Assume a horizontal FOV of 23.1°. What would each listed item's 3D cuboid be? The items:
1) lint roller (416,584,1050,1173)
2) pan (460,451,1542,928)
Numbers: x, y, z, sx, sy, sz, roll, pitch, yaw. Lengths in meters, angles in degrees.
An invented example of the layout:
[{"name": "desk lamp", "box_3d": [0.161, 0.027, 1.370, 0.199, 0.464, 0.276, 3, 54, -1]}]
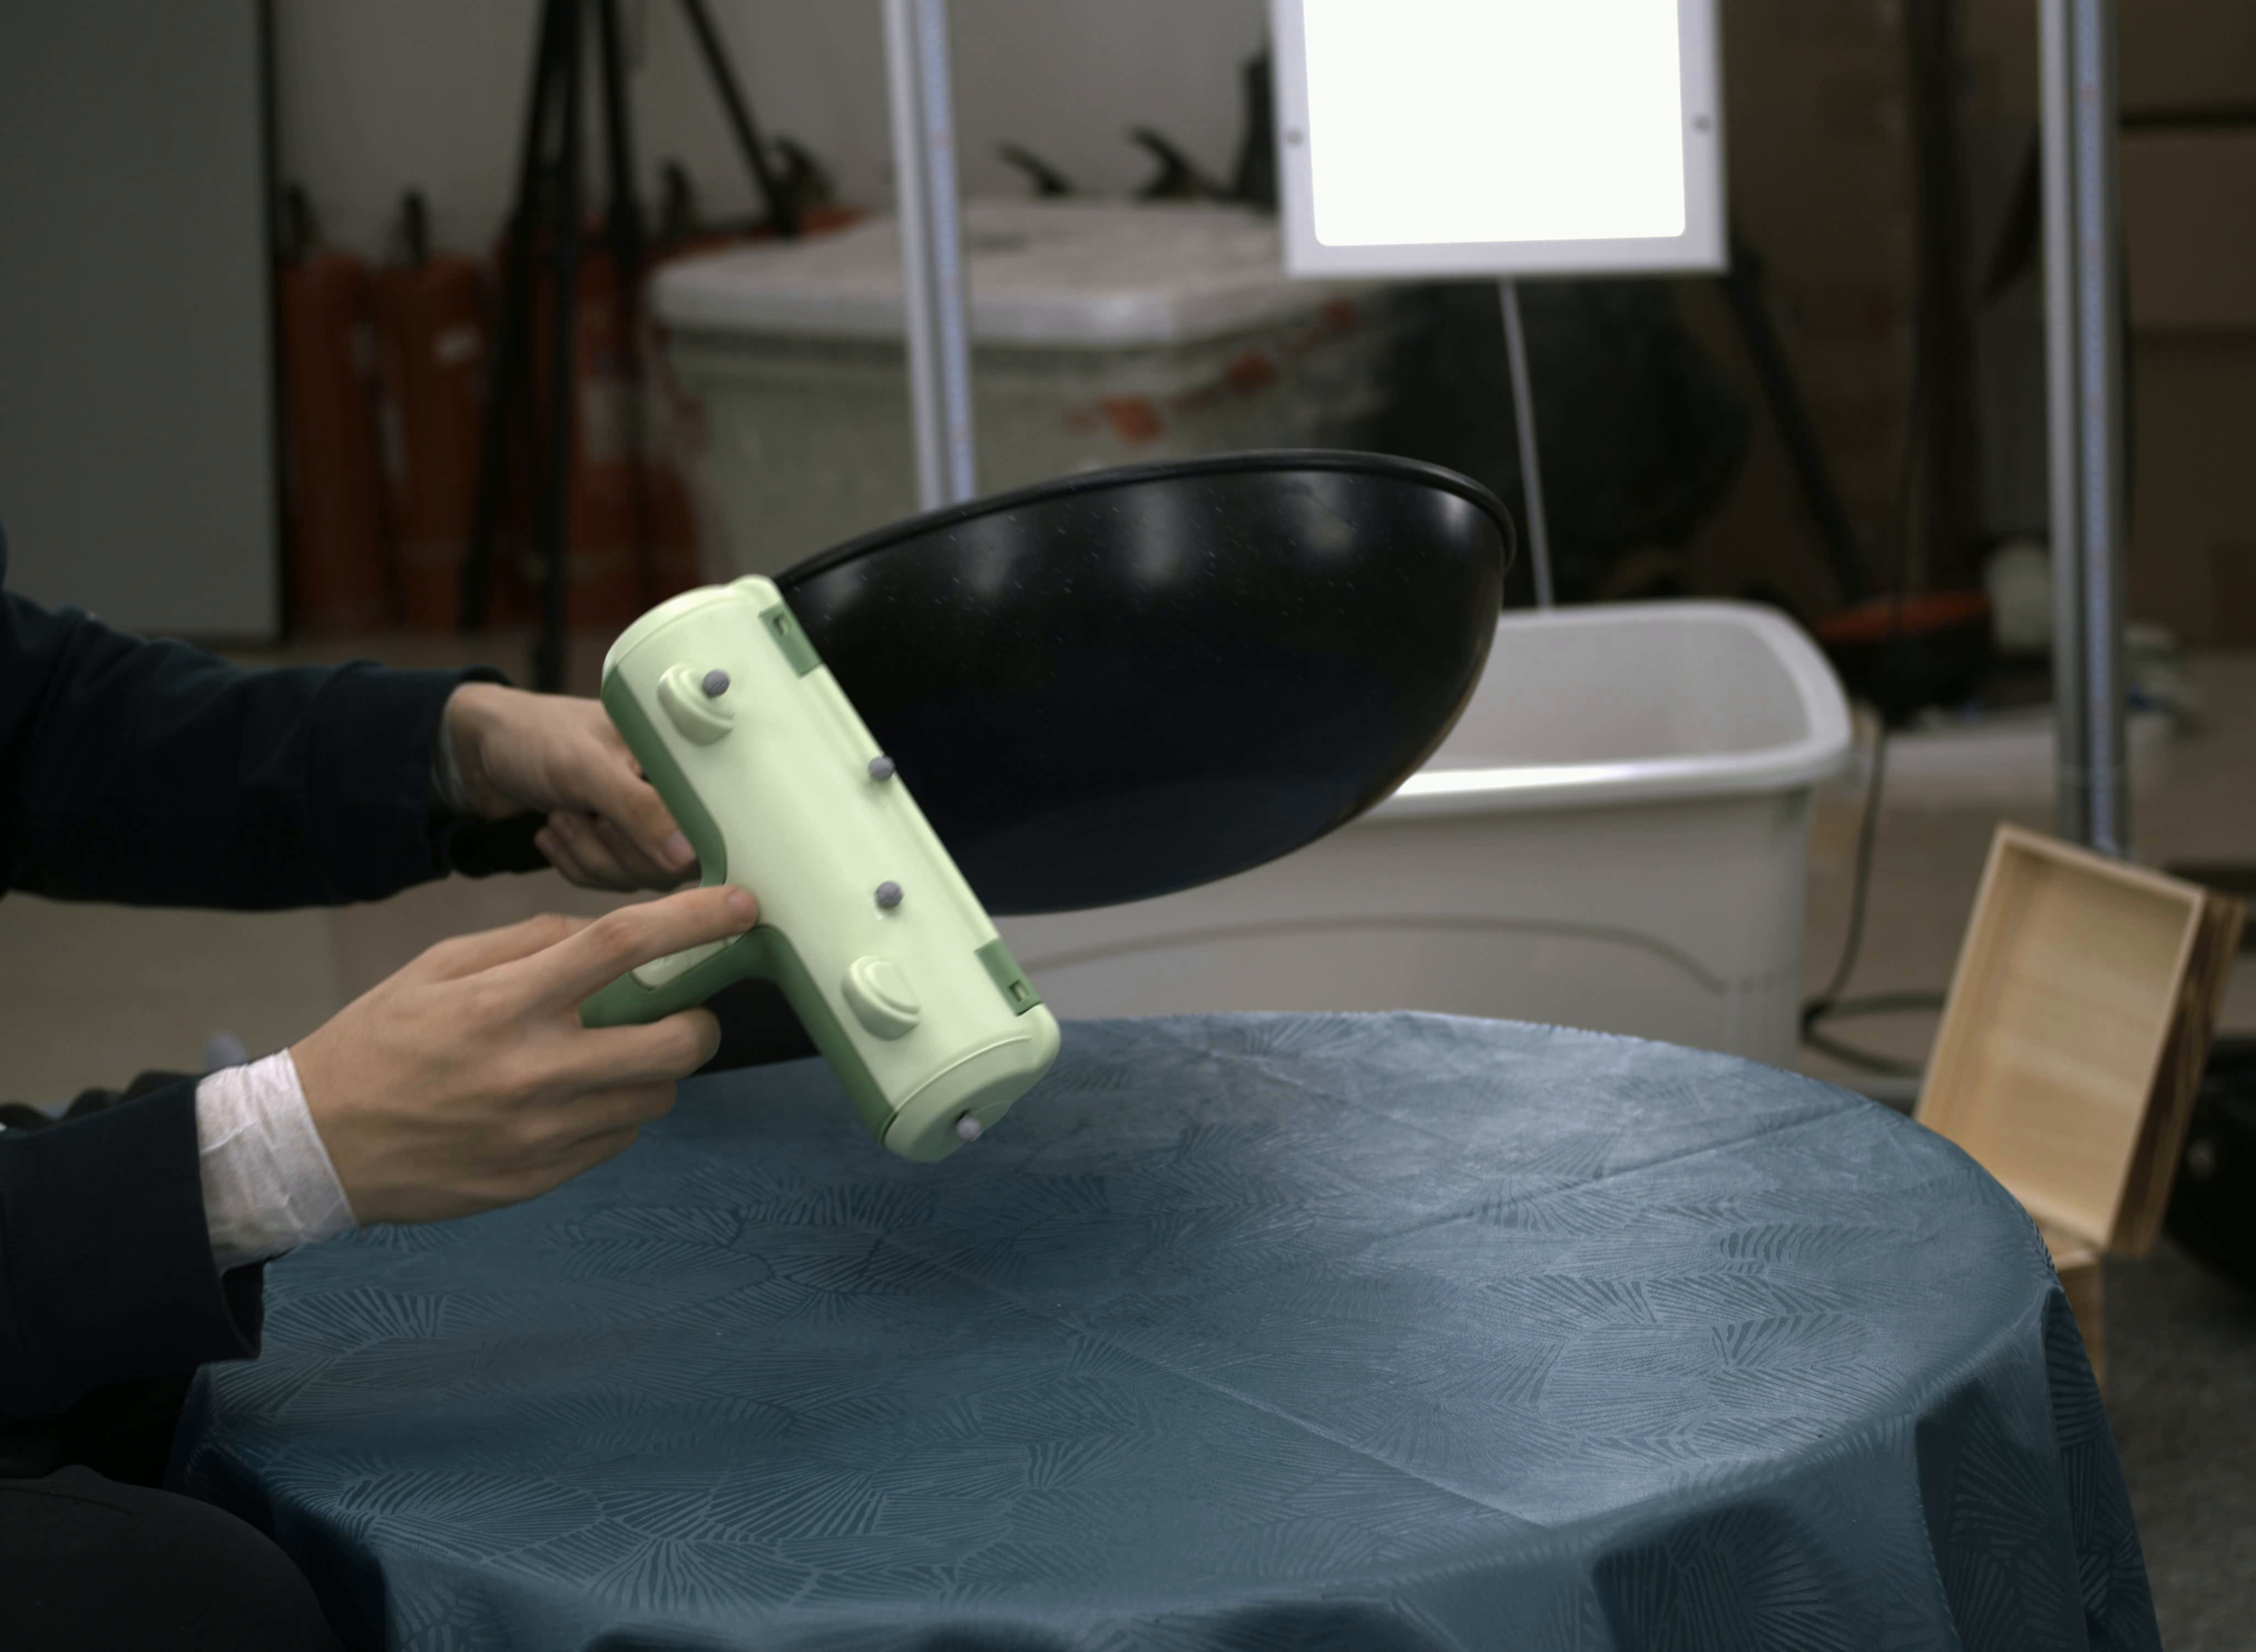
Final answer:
[{"name": "lint roller", "box_3d": [-0.148, 0.041, 1.728, 0.182, 0.200, 0.082, -31, -21, -6]}, {"name": "pan", "box_3d": [-0.064, -0.015, 1.972, 0.487, 0.112, 0.303, -23, -21, 36]}]
